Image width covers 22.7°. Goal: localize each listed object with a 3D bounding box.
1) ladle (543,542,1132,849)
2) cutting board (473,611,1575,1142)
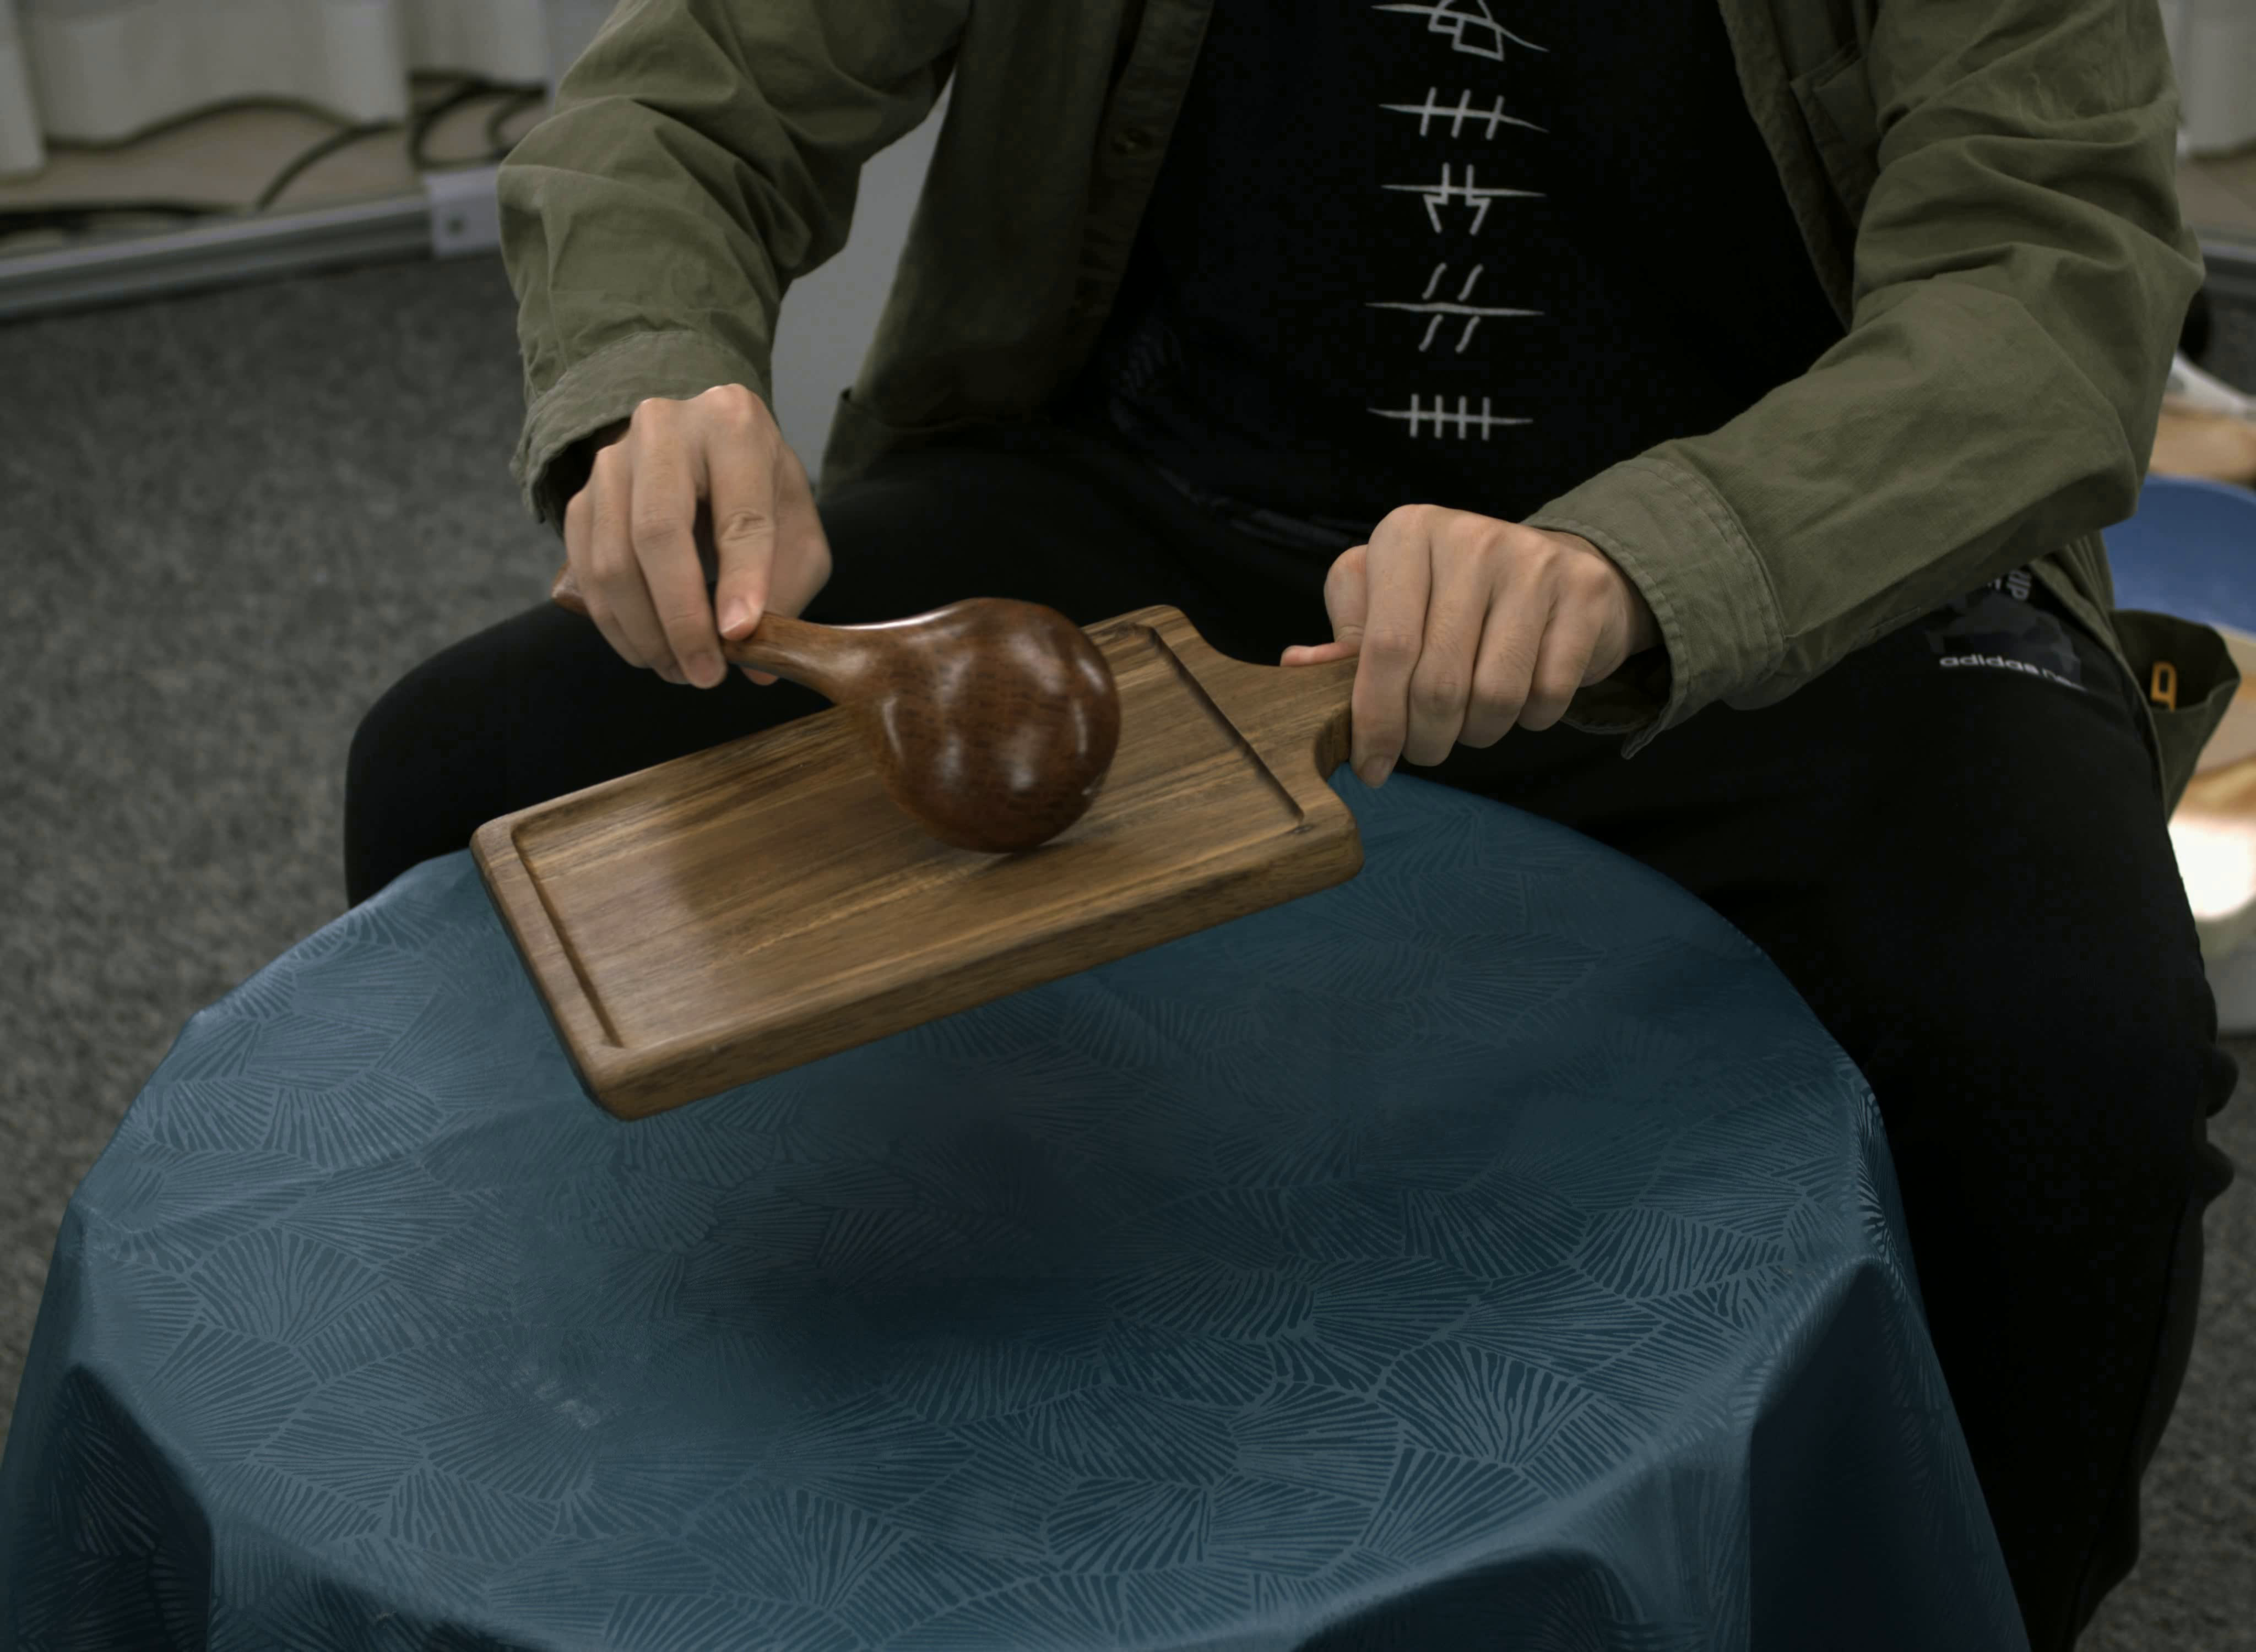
[{"bbox_3d":[-0.096,-0.053,1.837,0.273,0.076,0.082,16,73,56],"label":"ladle"},{"bbox_3d":[-0.023,-0.003,1.774,0.352,0.023,0.203,-18,27,-9],"label":"cutting board"}]
